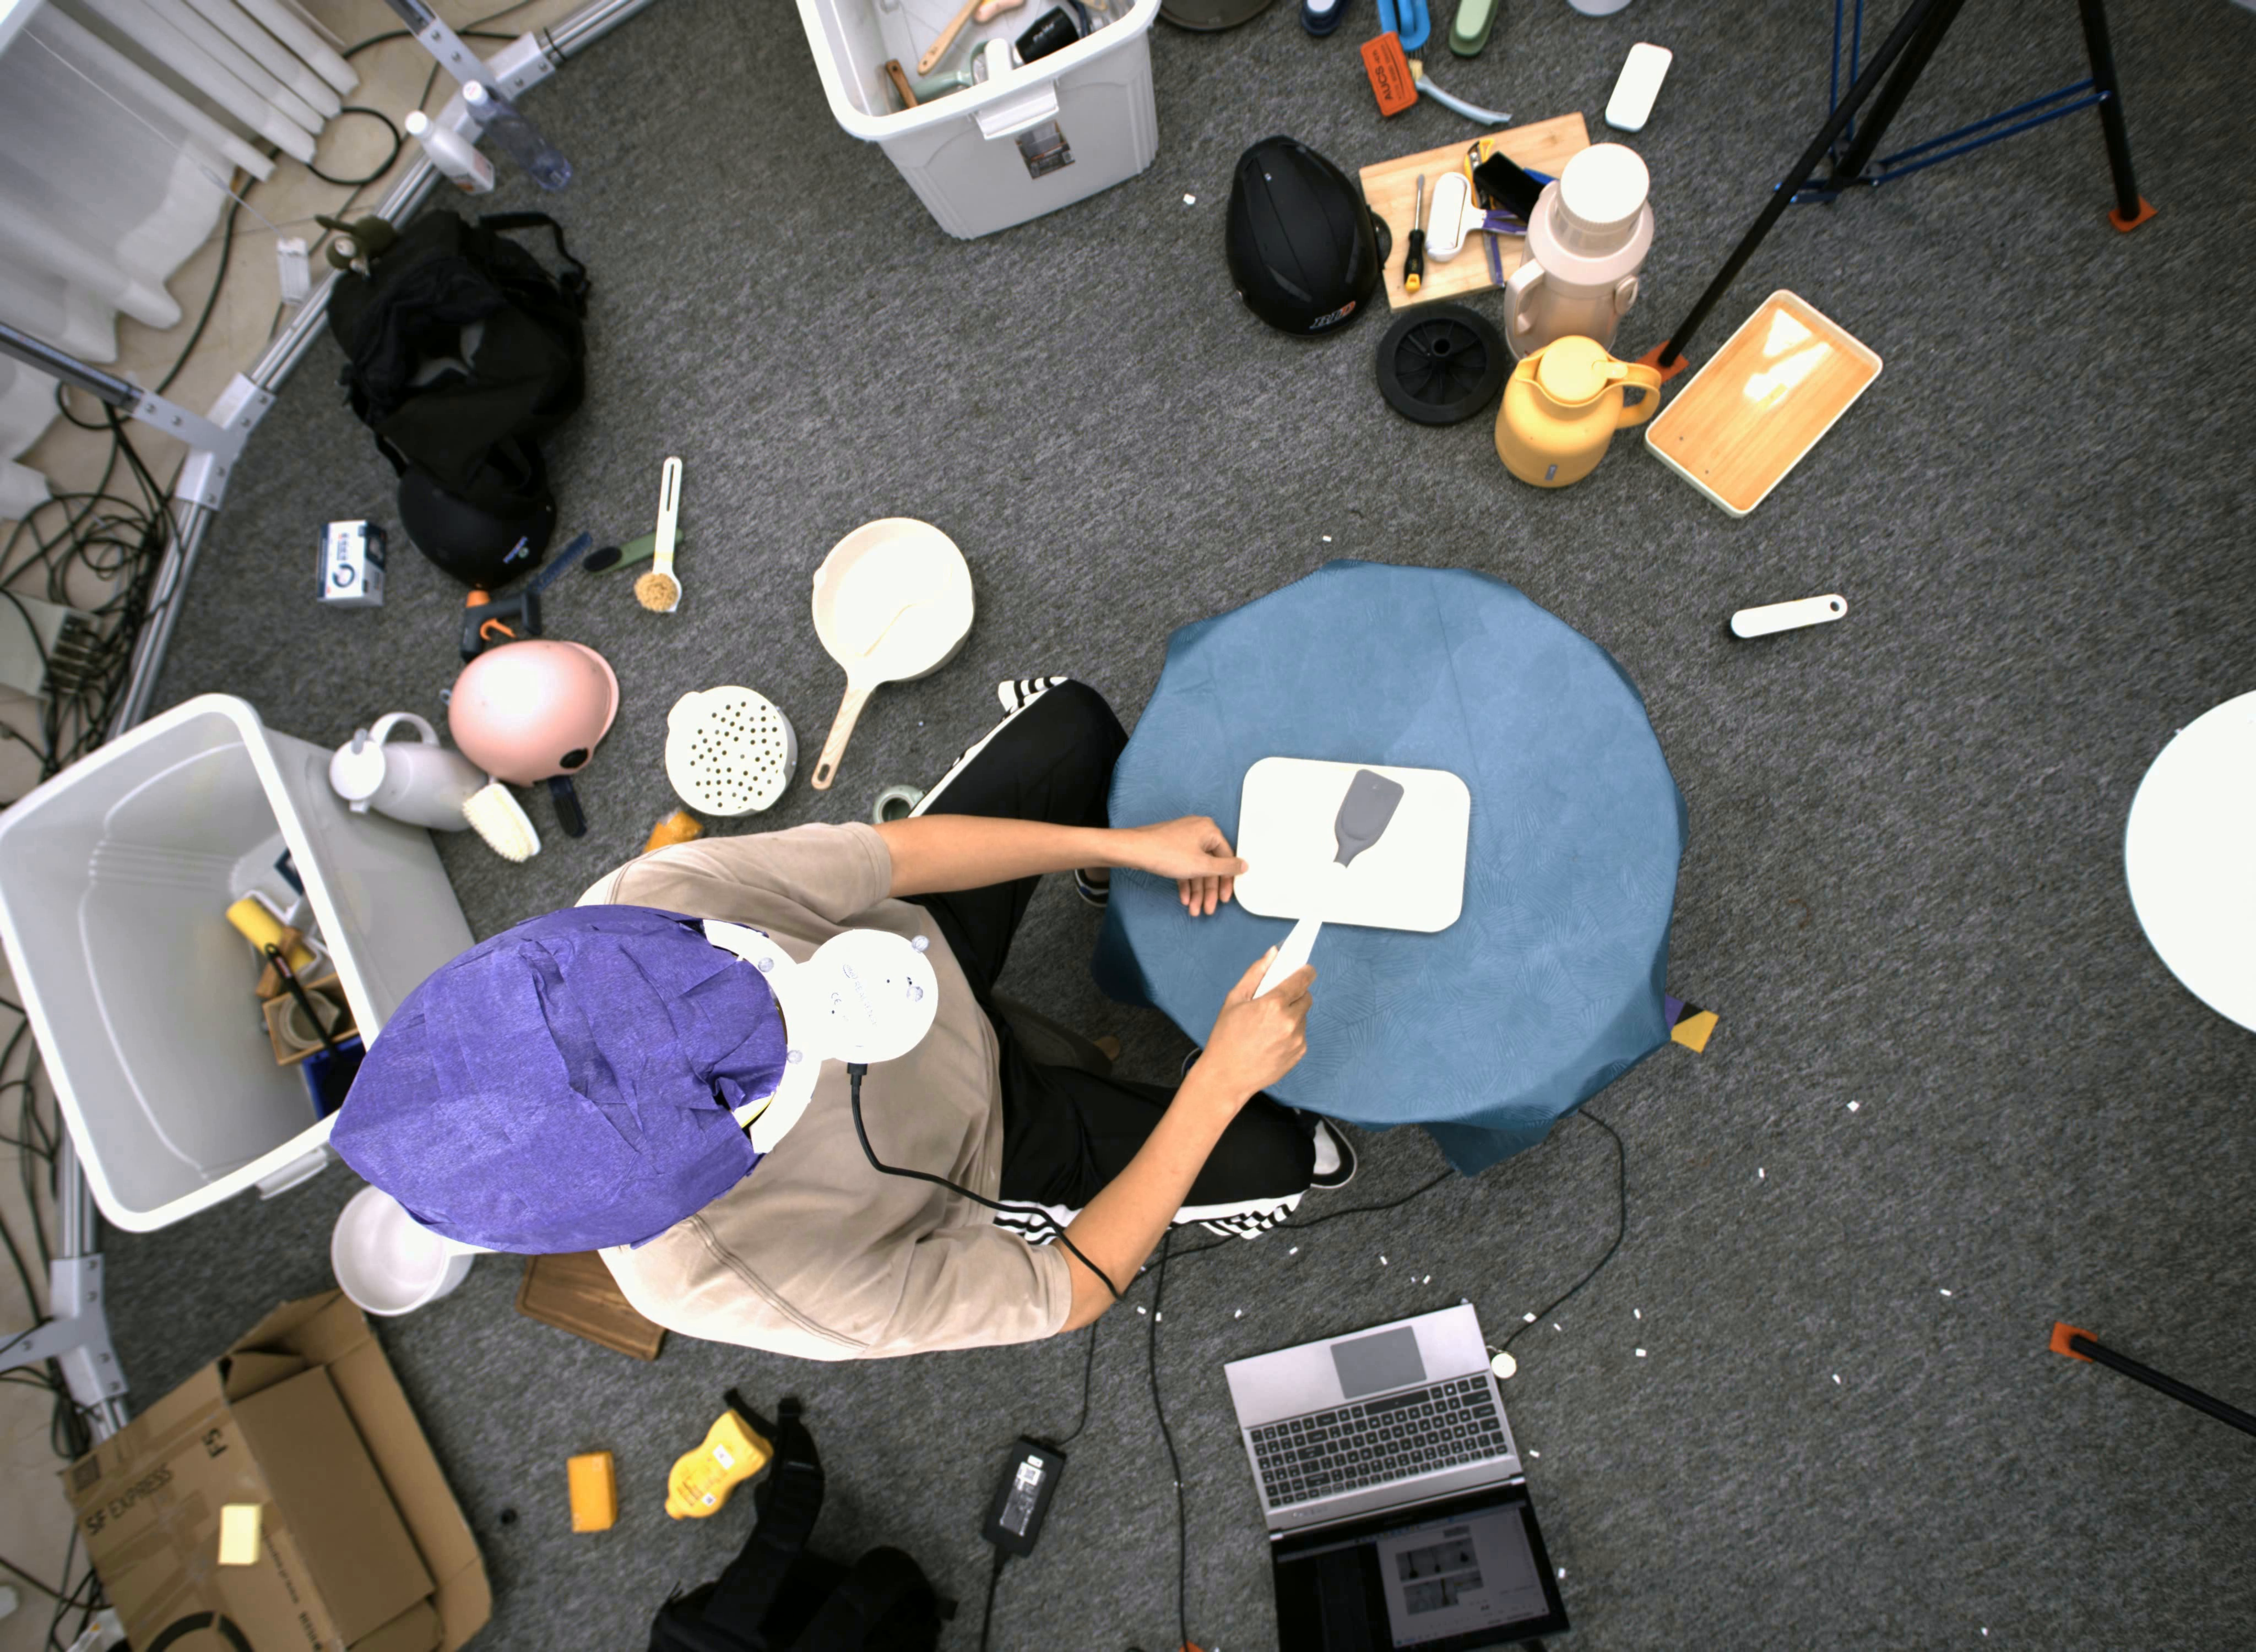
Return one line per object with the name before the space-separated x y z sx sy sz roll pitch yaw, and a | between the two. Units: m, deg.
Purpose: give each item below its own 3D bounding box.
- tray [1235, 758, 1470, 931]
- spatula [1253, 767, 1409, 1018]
tray | 0.237 0.018 1.462 0.240 0.017 0.170 5 87 11
spatula | 0.195 0.059 1.341 0.058 0.033 0.282 23 64 17
